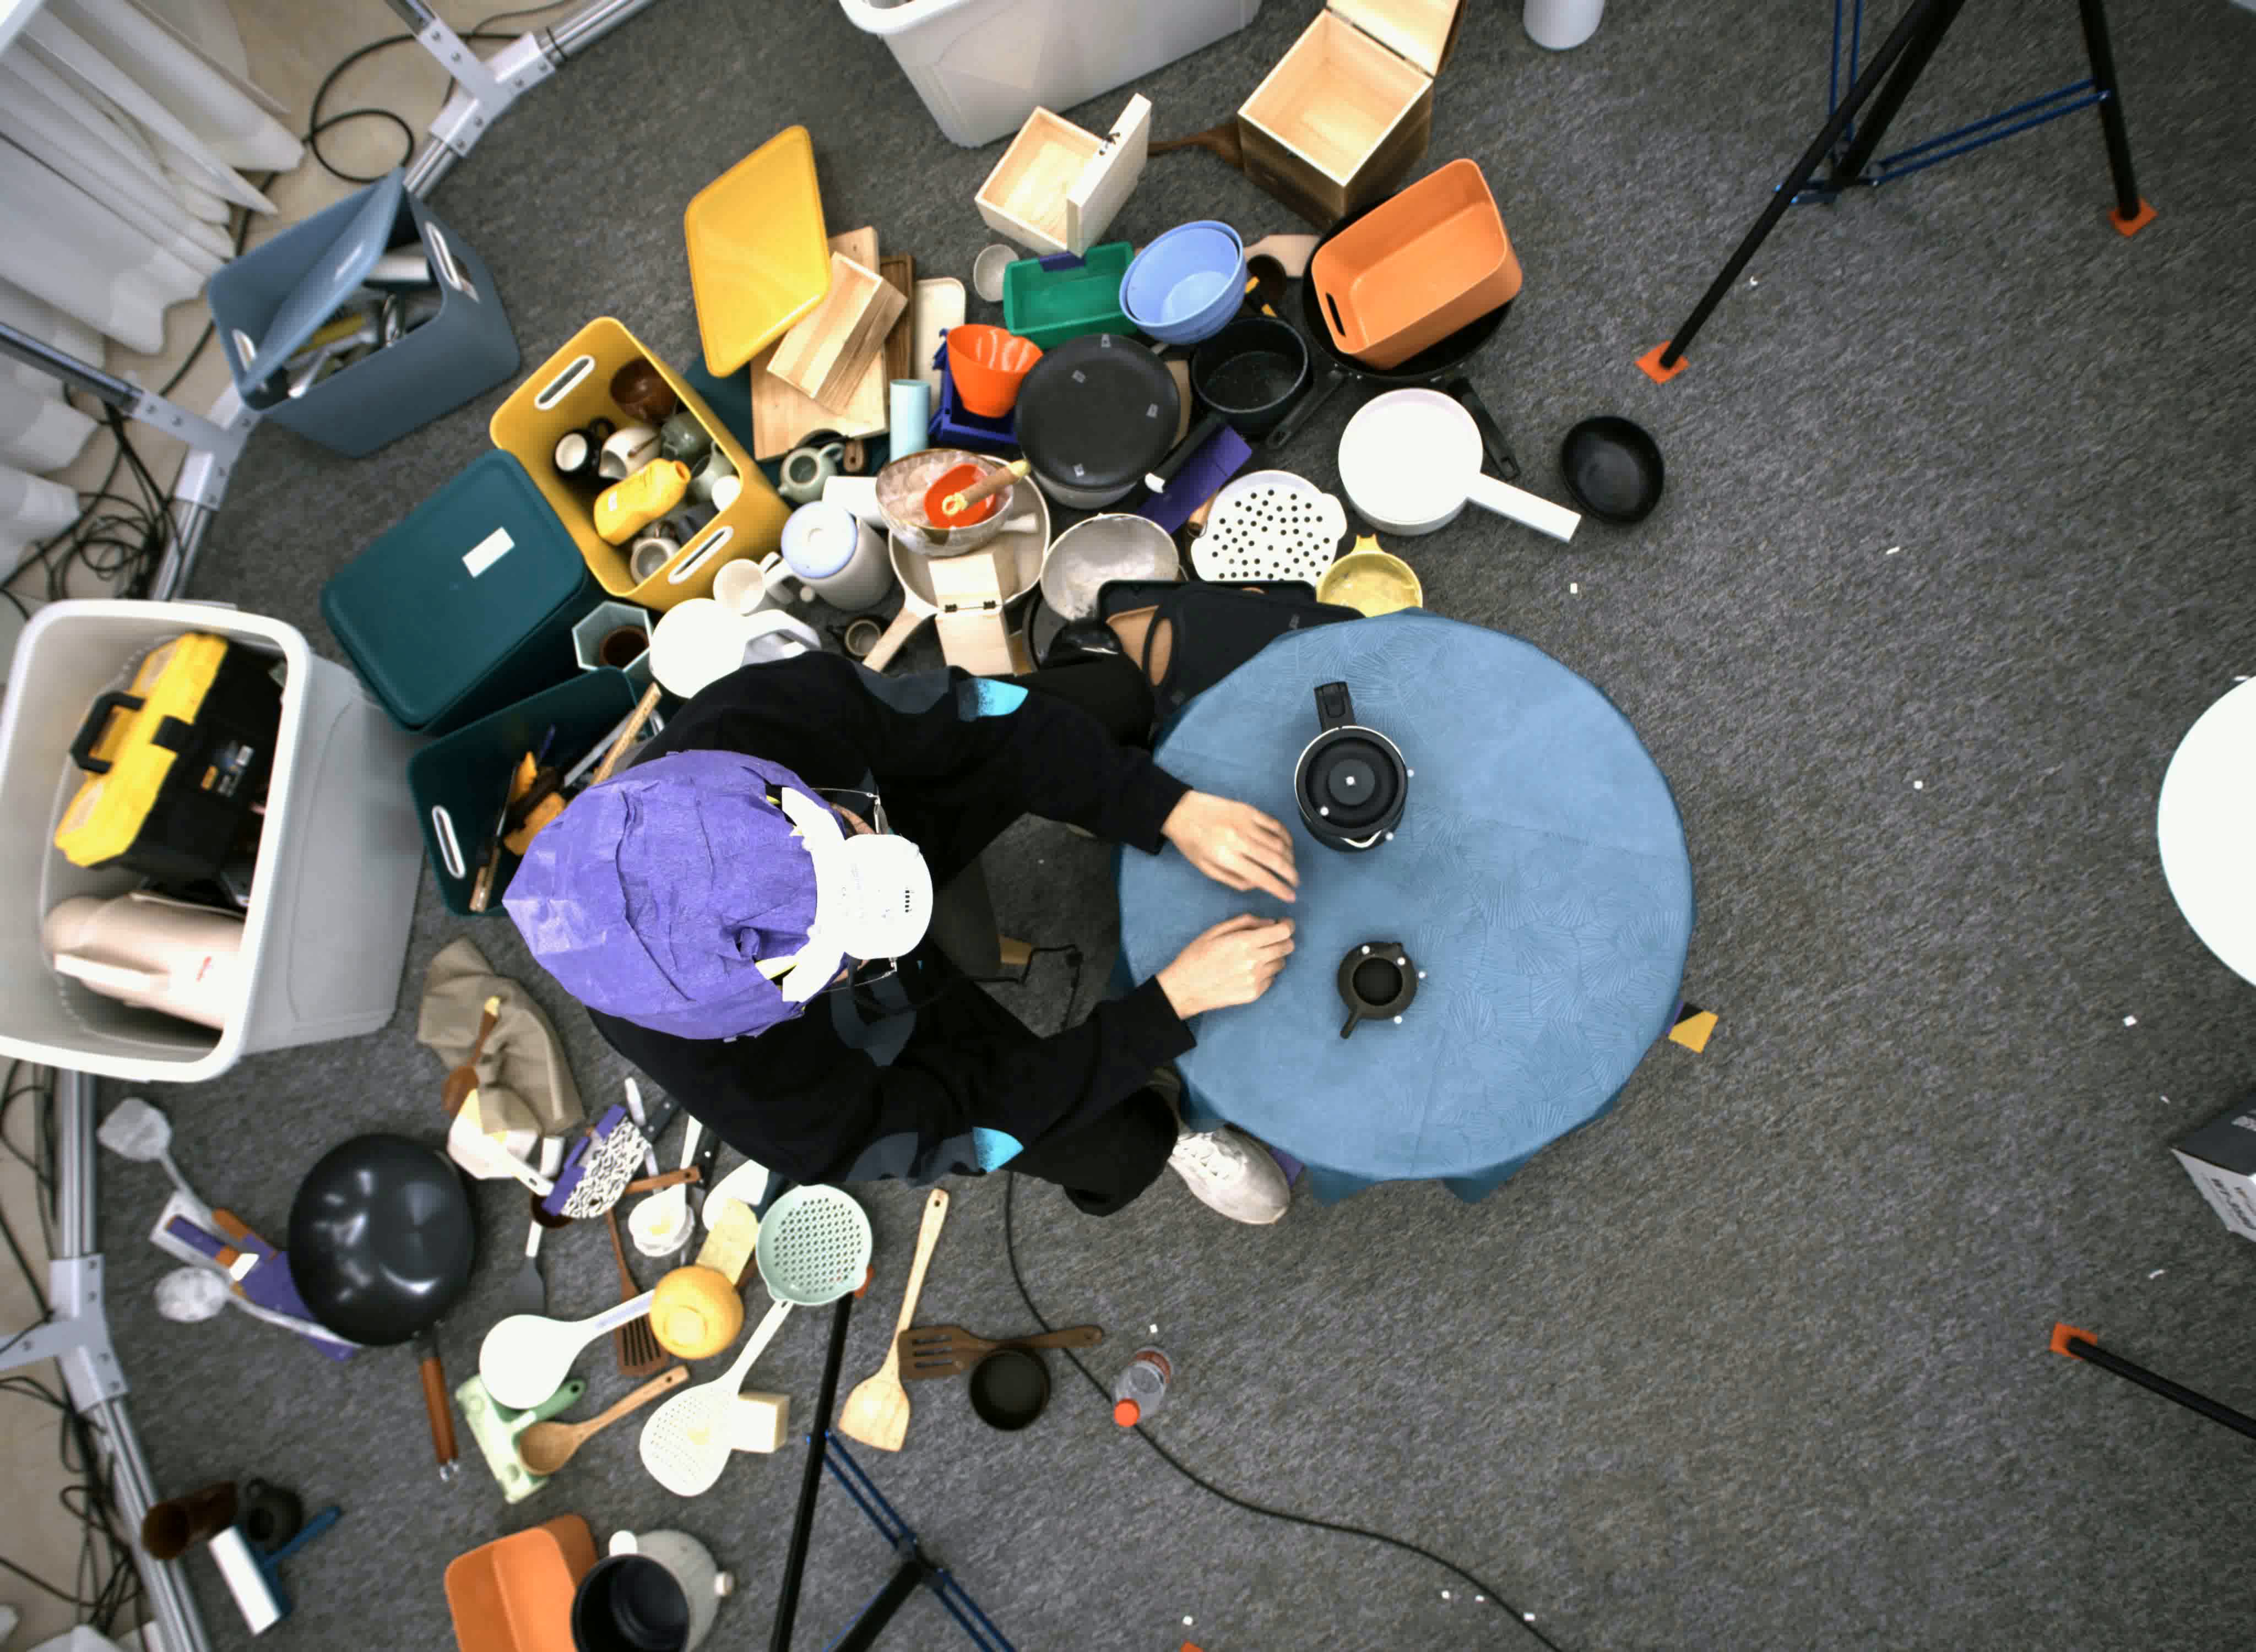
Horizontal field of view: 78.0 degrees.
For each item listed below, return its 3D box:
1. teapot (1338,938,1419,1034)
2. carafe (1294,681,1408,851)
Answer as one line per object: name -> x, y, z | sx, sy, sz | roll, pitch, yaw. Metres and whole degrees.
teapot -> 0.252, 0.166, 1.429 | 0.082, 0.053, 0.114 | 36, 90, 11
carafe -> 0.219, -0.059, 1.385 | 0.115, 0.173, 0.171 | -13, 86, 10
